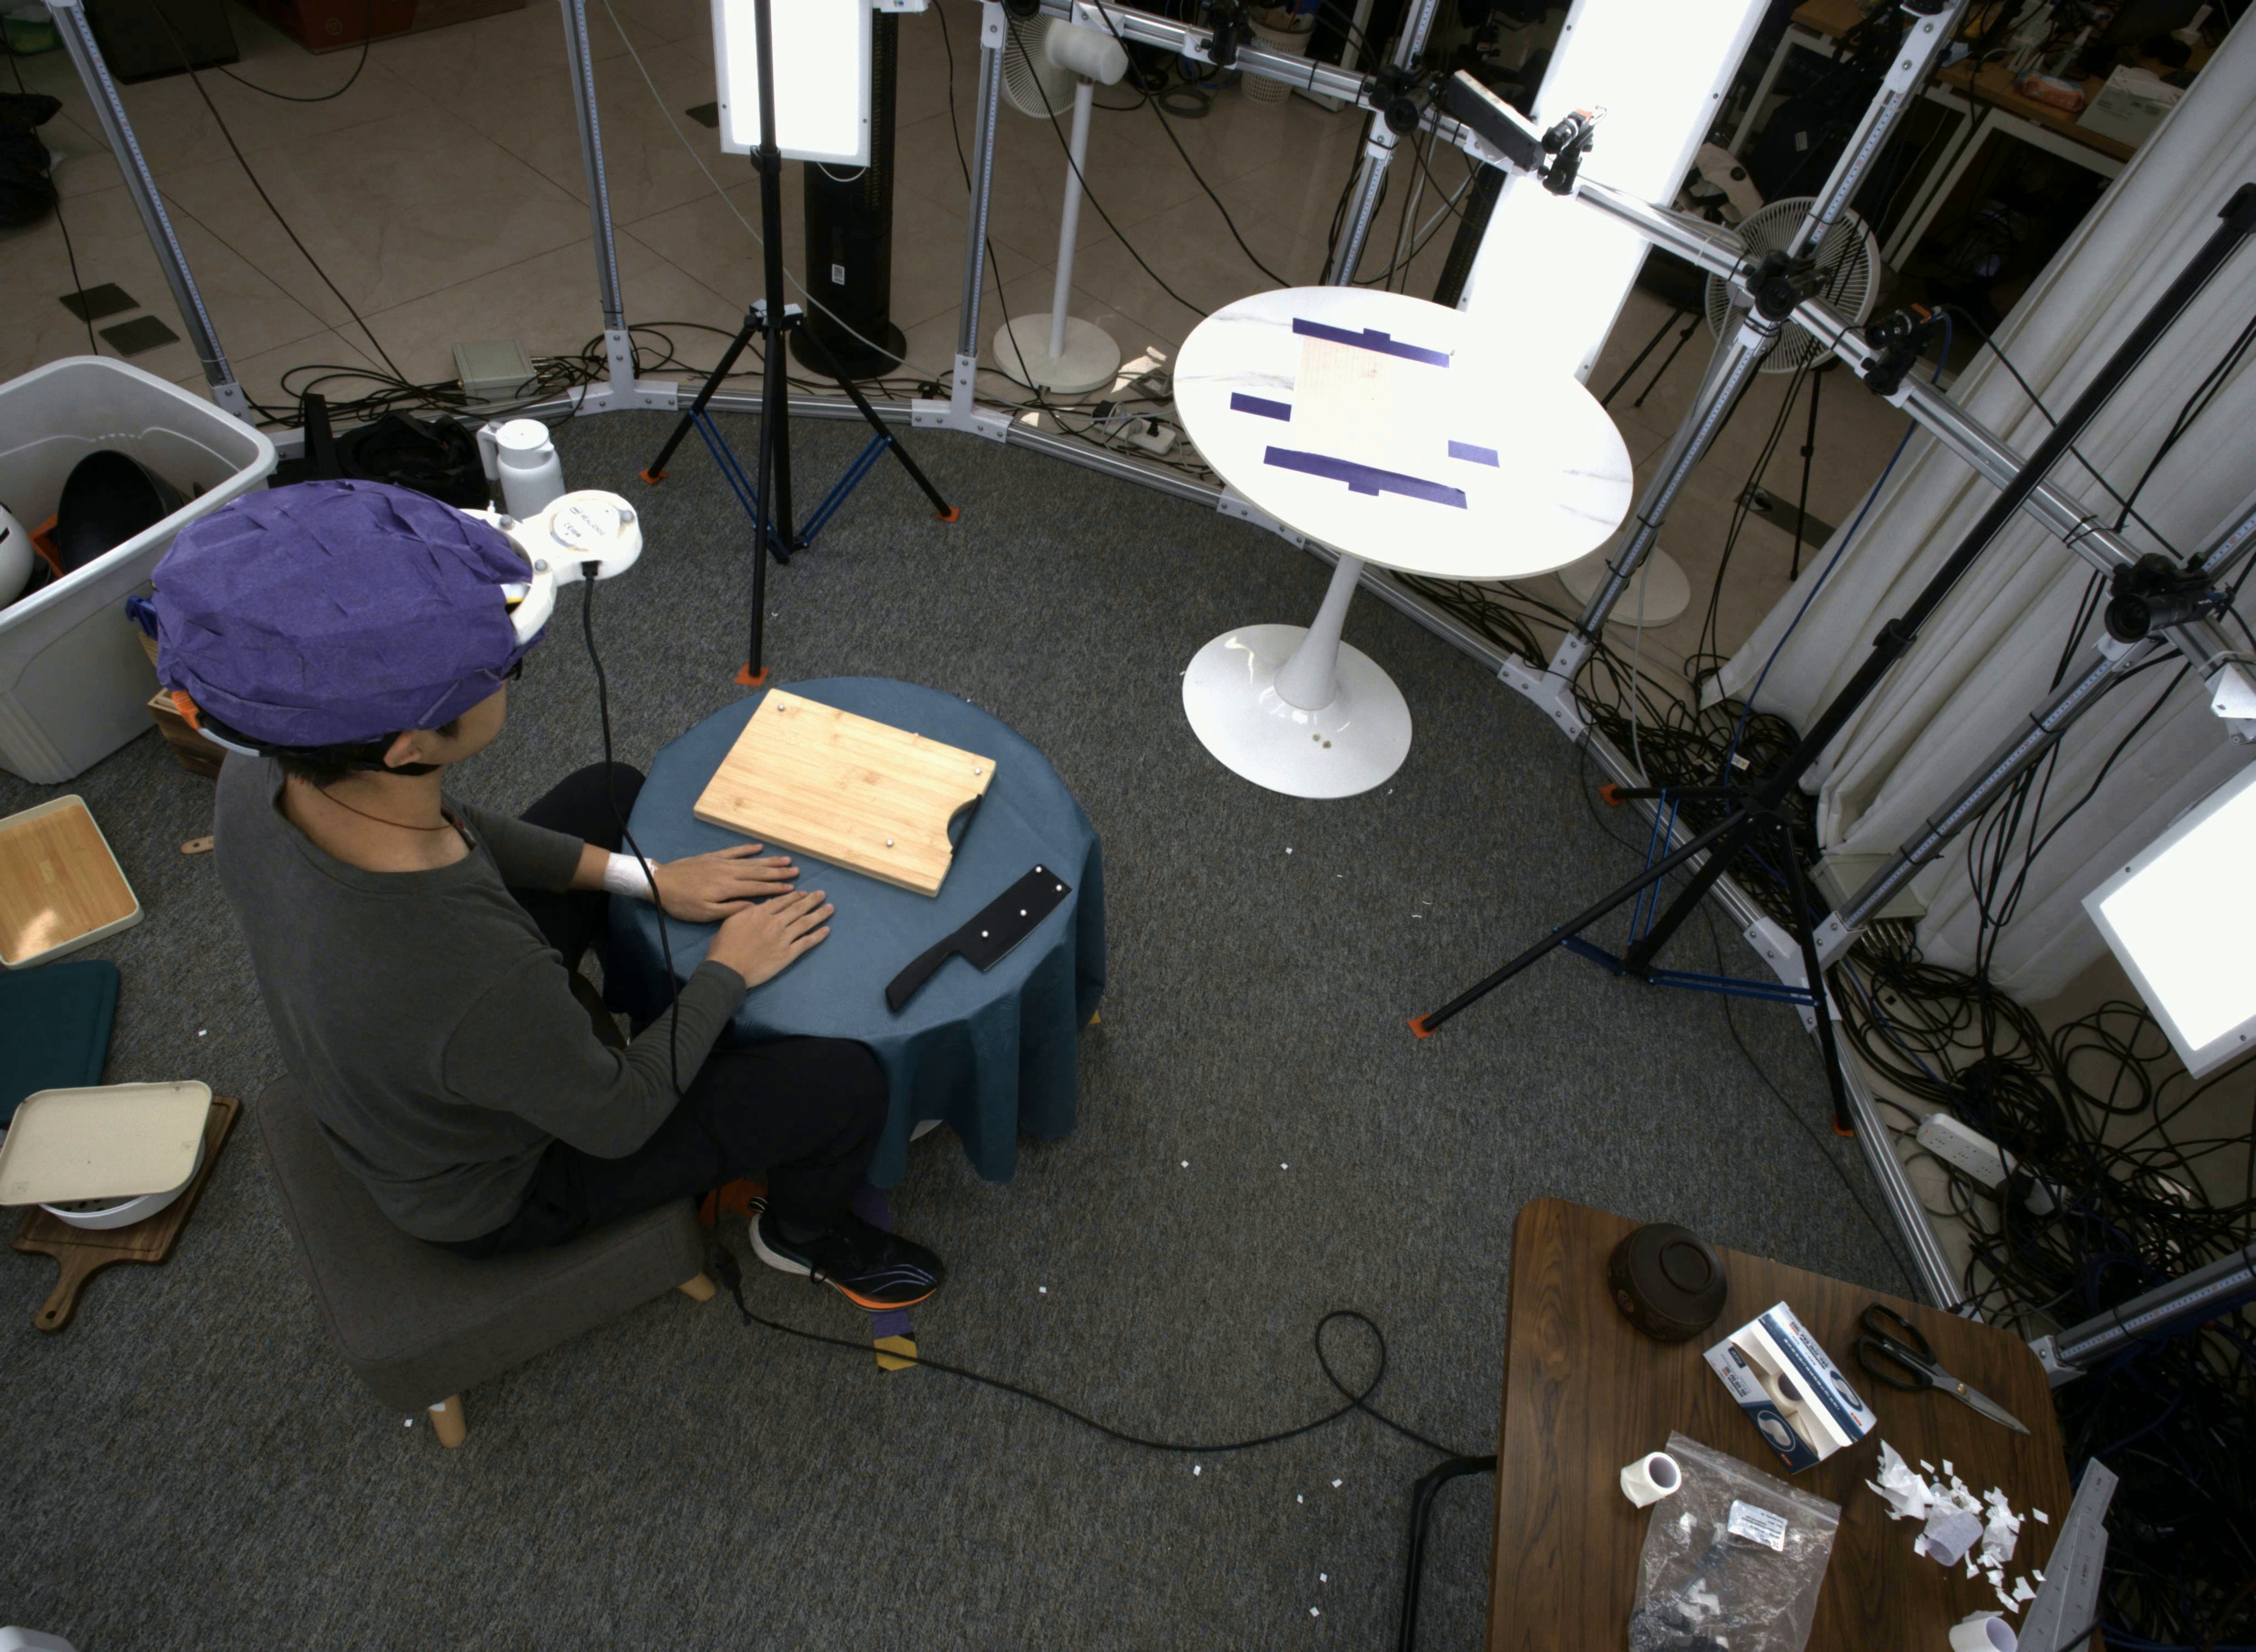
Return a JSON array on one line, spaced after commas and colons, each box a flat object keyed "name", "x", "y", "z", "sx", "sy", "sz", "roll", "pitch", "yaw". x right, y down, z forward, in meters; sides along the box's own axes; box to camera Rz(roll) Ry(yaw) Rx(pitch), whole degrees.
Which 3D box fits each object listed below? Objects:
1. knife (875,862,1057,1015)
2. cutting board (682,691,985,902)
[{"name": "knife", "x": -0.208, "y": 0.143, "z": 1.676, "sx": 0.079, "sy": 0.021, "sz": 0.303, "roll": 41, "pitch": 53, "yaw": 16}, {"name": "cutting board", "x": -0.394, "y": -0.047, "z": 1.767, "sx": 0.346, "sy": 0.024, "sz": 0.248, "roll": 17, "pitch": 52, "yaw": -1}]
